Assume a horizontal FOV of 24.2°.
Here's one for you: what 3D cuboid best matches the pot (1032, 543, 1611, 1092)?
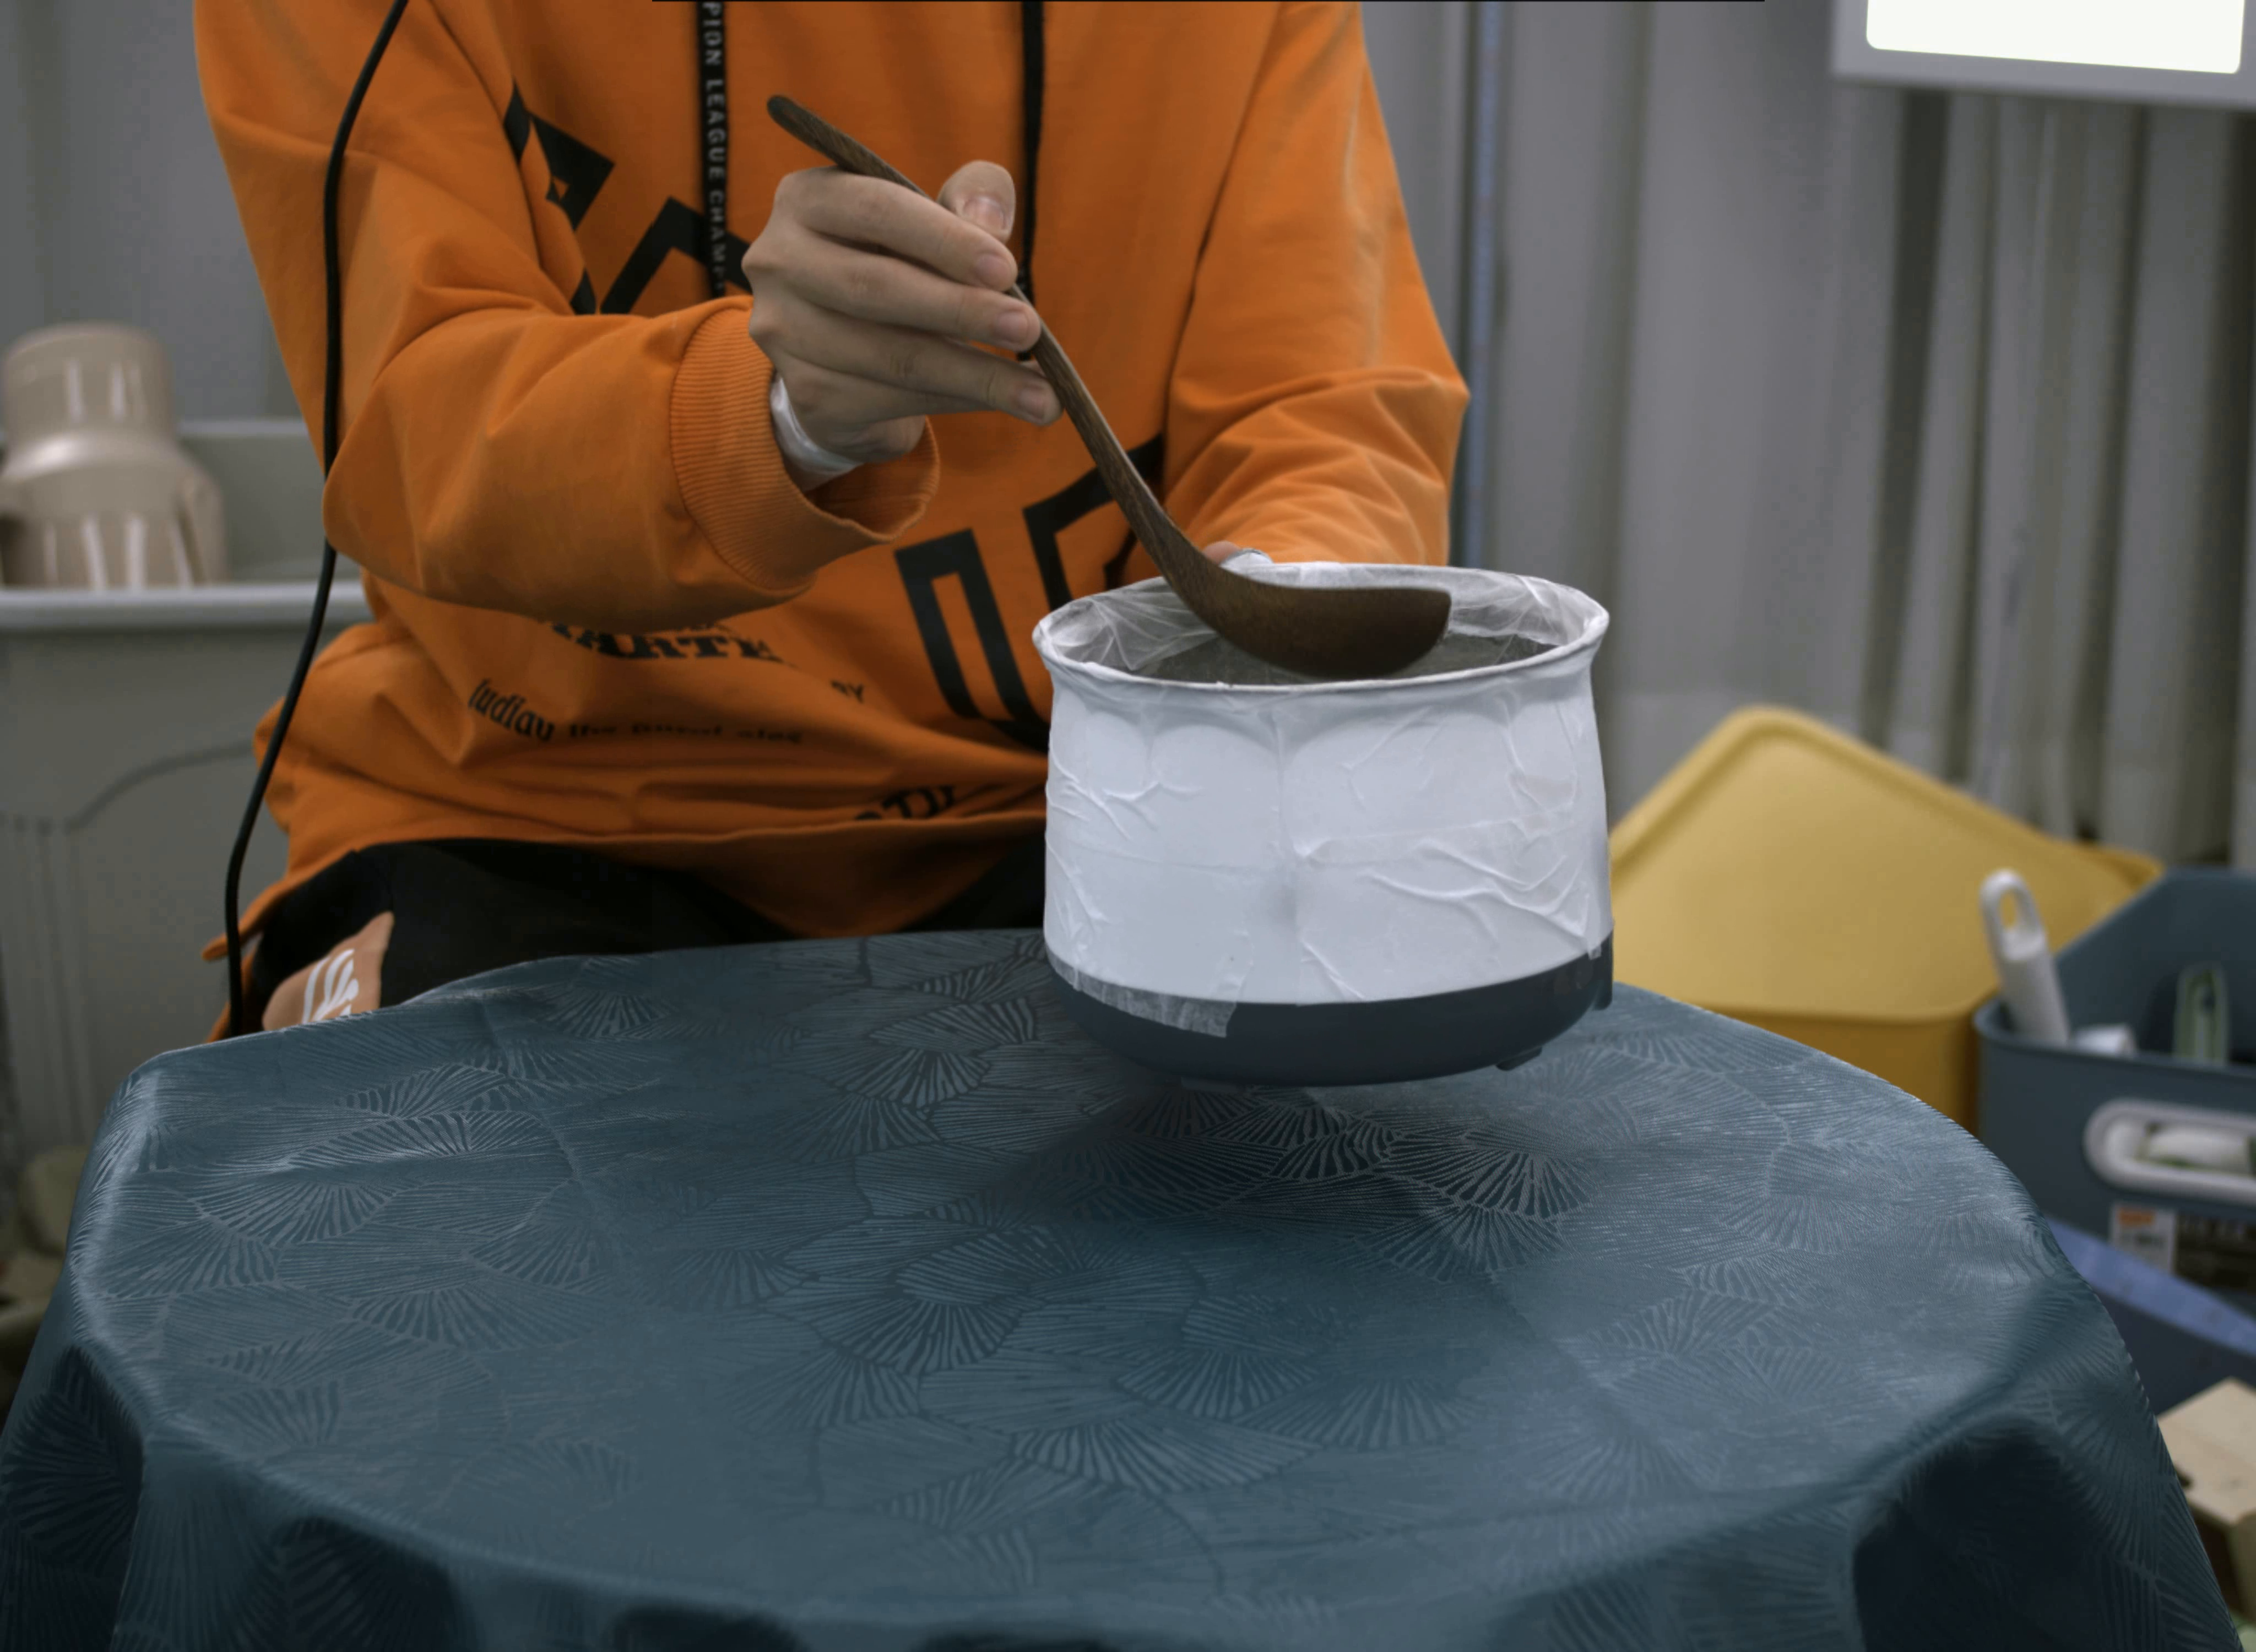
[{"bbox_3d":[0.054,-0.008,1.649,0.179,0.138,0.231,-5,15,-13],"label":"pot"}]

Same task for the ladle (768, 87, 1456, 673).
[{"bbox_3d":[-0.004,-0.149,1.660,0.071,0.273,0.076,-39,-9,-1],"label":"ladle"}]
